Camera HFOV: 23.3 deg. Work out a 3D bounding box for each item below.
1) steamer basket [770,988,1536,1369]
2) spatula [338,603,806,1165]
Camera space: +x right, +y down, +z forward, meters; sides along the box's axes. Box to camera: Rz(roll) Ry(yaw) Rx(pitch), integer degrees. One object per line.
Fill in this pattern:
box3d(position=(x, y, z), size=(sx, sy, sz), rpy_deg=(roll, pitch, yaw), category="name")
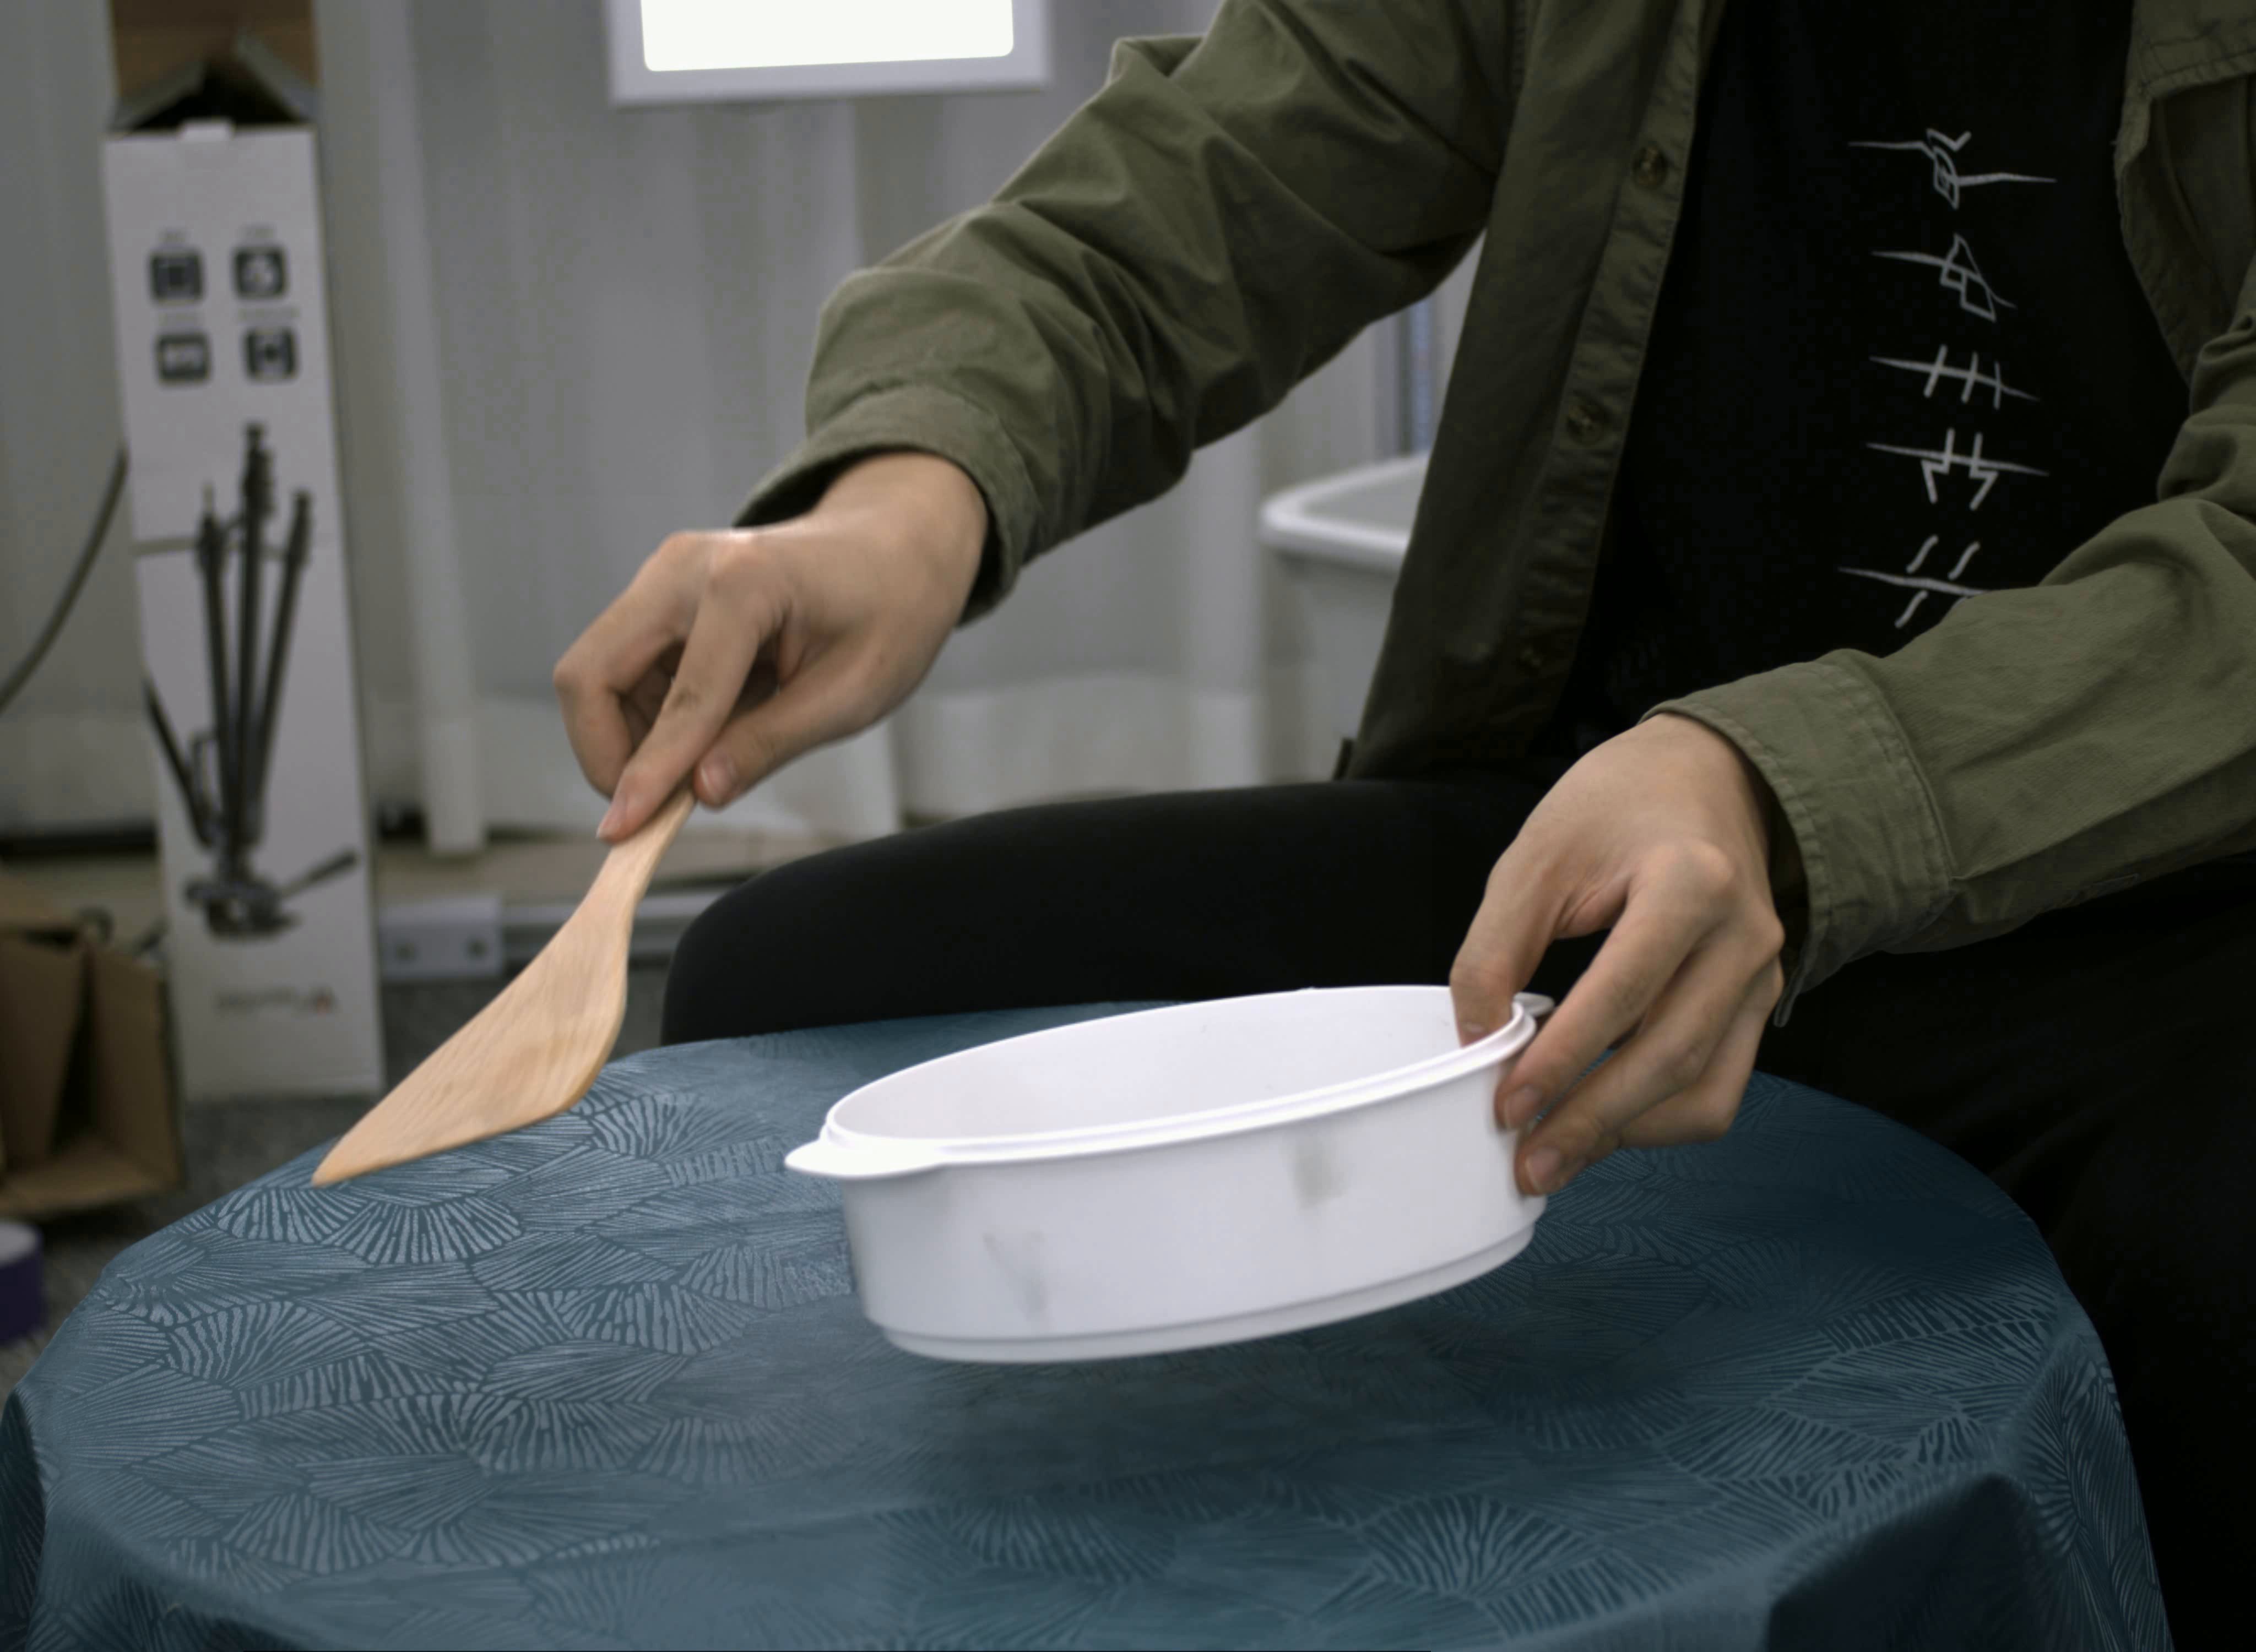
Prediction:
box3d(position=(0.013, 0.098, 1.523), size=(0.230, 0.069, 0.202), rpy_deg=(-12, 9, -29), category="steamer basket")
box3d(position=(-0.149, 0.009, 1.642), size=(0.080, 0.016, 0.331), rpy_deg=(-14, 26, 22), category="spatula")
